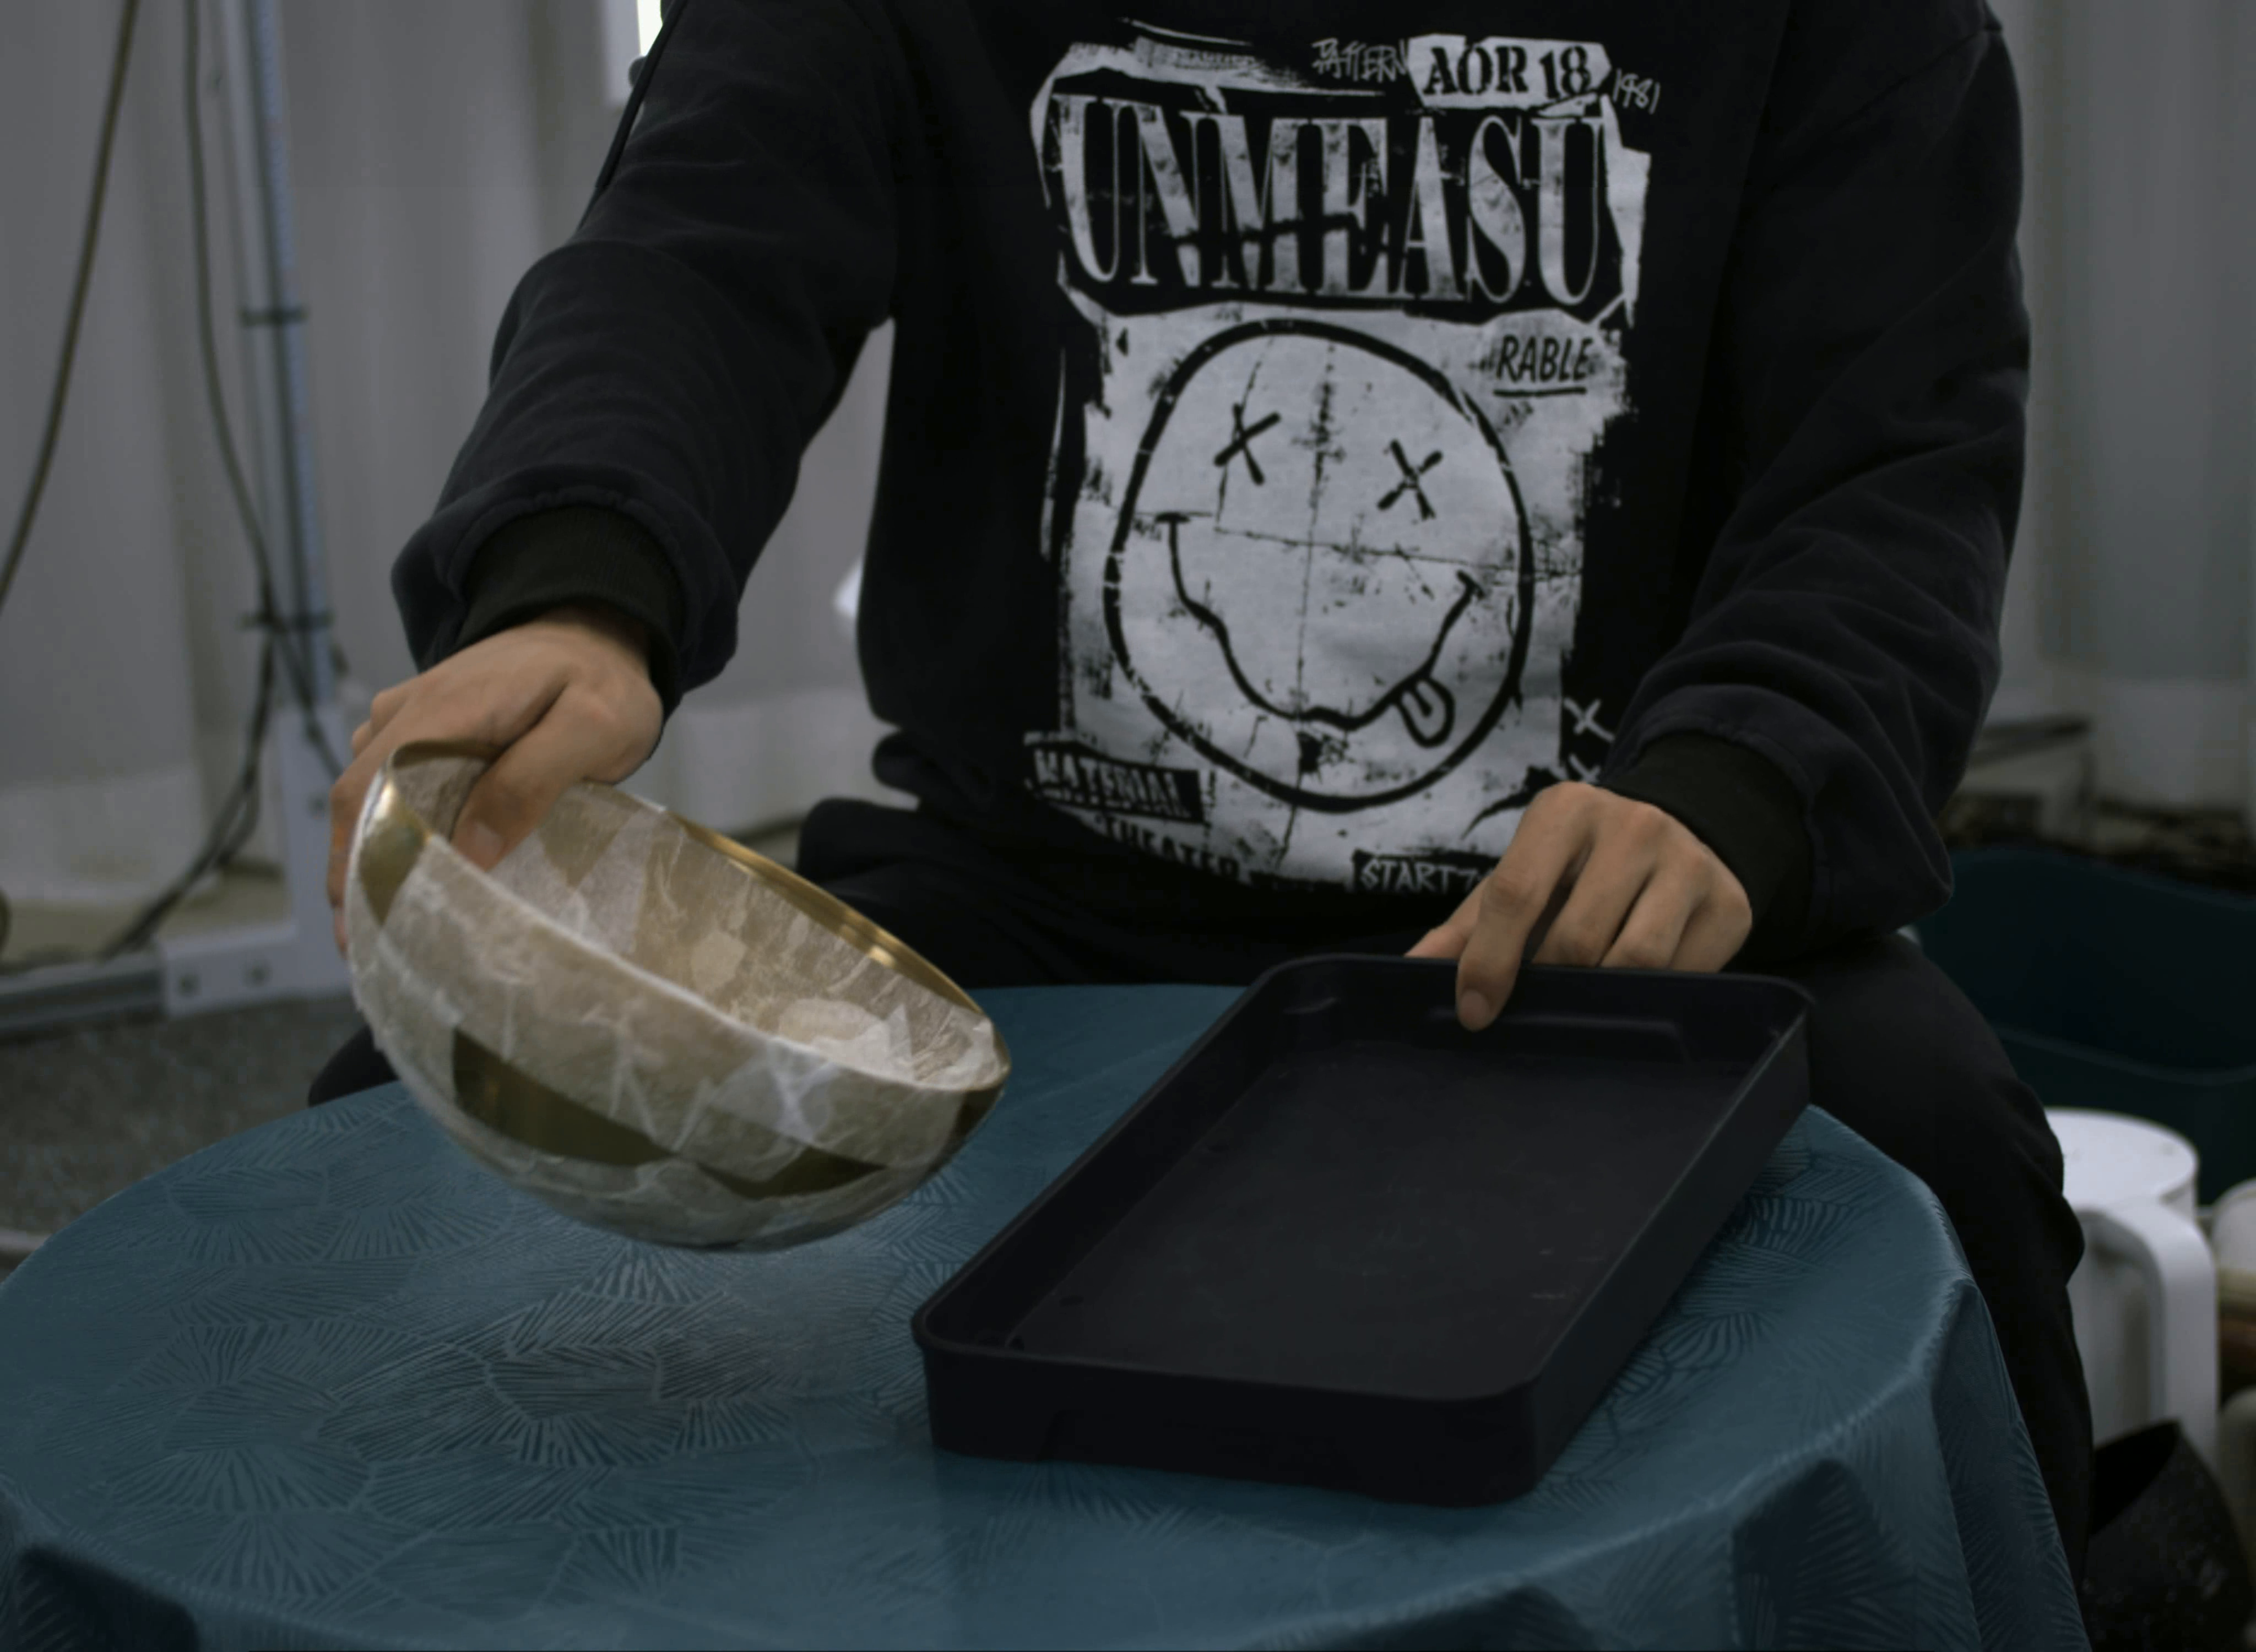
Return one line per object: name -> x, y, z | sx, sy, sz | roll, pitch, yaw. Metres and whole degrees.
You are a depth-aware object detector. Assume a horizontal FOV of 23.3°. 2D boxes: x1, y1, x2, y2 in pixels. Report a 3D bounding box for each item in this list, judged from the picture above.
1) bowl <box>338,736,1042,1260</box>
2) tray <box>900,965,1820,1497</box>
bowl -> -0.140, 0.064, 1.561 | 0.214, 0.094, 0.216 | 25, 11, -5
tray -> 0.077, 0.111, 1.603 | 0.184, 0.037, 0.319 | 2, 19, 24
